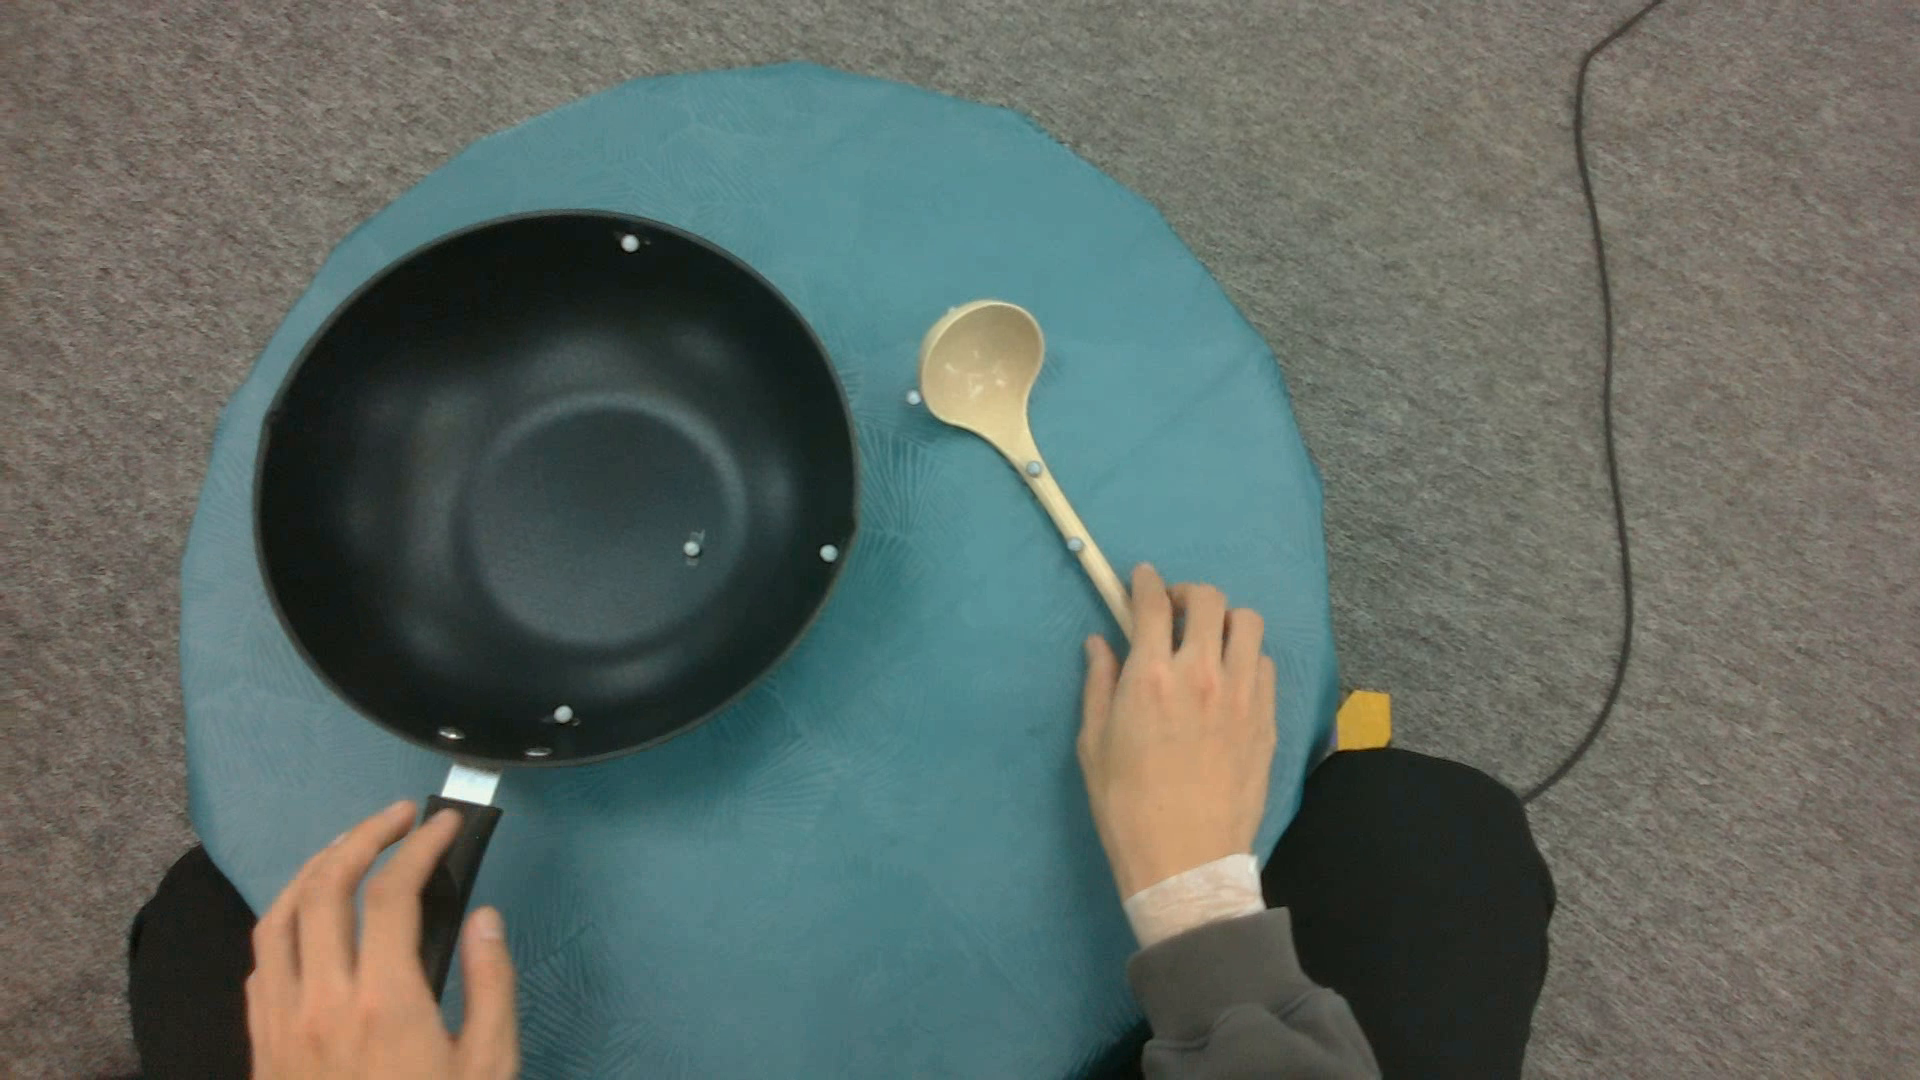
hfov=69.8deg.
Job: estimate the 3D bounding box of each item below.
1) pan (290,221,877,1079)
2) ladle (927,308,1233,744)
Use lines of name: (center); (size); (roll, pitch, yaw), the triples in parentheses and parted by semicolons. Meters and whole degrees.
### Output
pan: (-0.202, 0.067, 0.677); (0.288, 0.086, 0.464); (11, 74, 3)
ladle: (0.070, -0.010, 0.708); (0.072, 0.072, 0.255); (-30, 75, -15)
